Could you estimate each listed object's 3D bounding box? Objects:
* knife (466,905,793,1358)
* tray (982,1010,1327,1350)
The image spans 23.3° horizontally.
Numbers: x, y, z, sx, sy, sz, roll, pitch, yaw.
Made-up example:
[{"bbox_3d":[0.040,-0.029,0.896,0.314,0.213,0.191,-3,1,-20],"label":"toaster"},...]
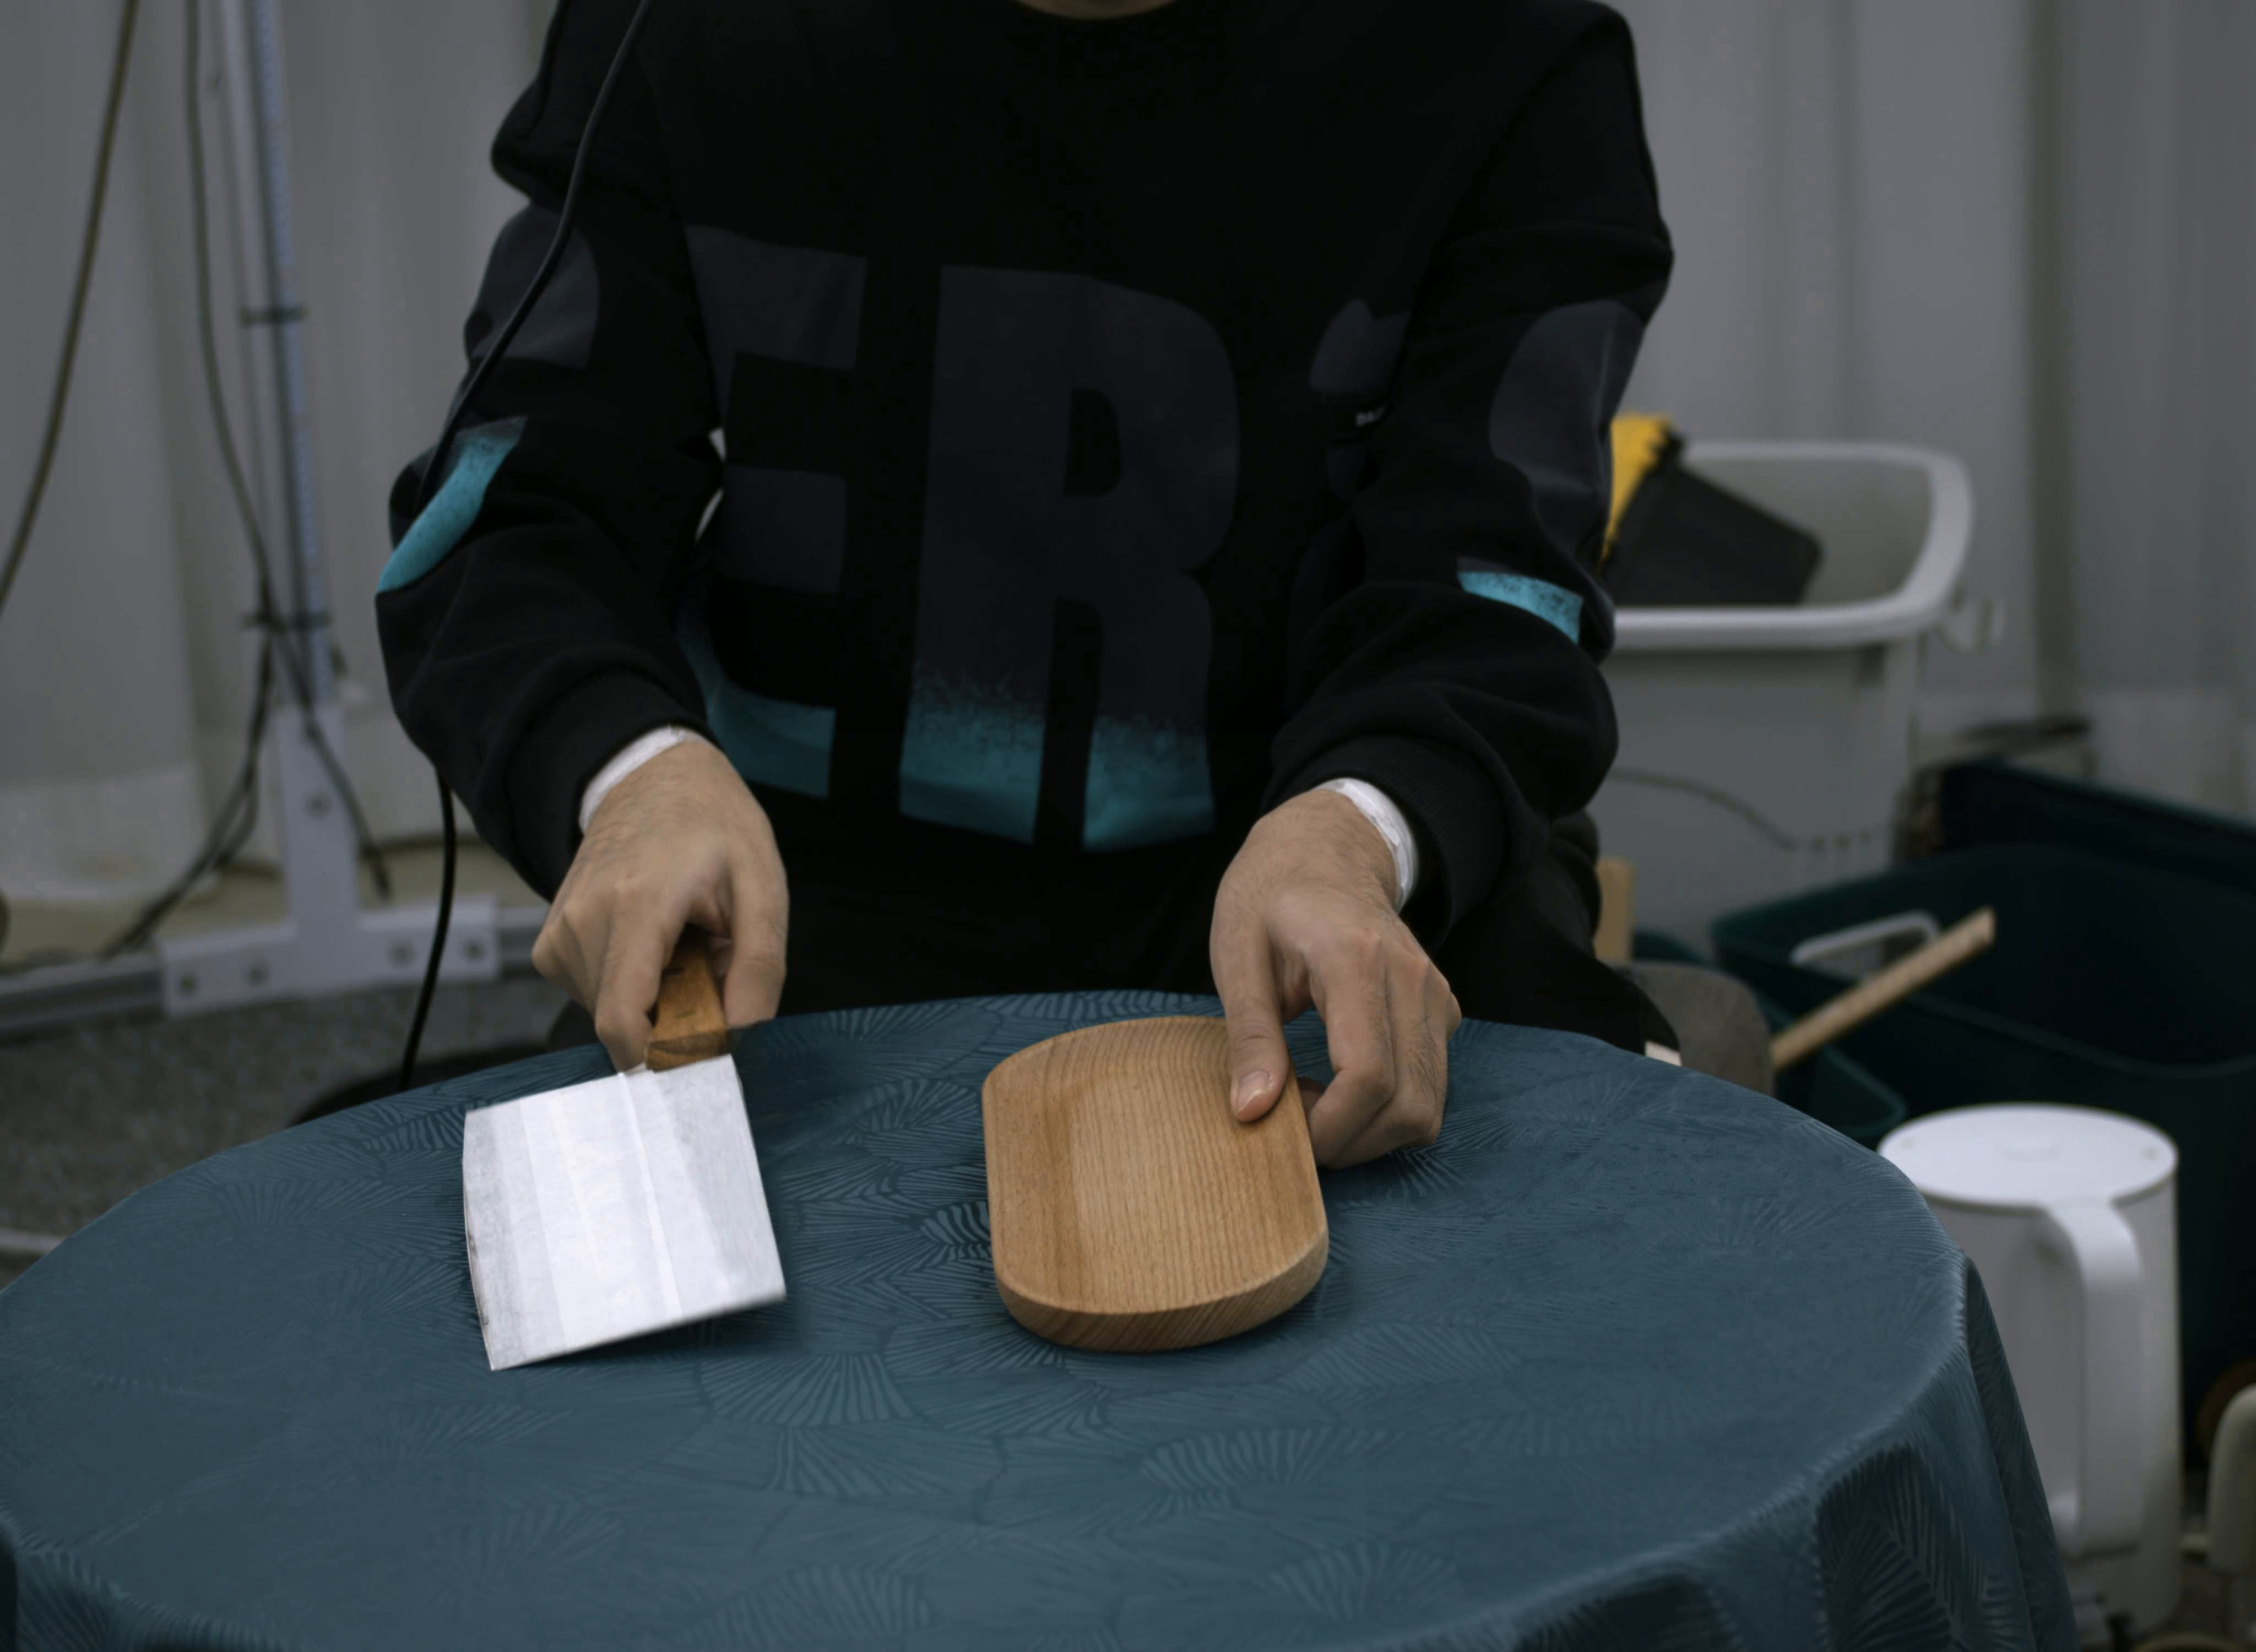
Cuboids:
[{"bbox_3d":[-0.163,0.095,1.733,0.092,0.021,0.309,-12,22,-5],"label":"knife"},{"bbox_3d":[0.007,0.106,1.680,0.101,0.020,0.233,-7,18,0],"label":"tray"}]
